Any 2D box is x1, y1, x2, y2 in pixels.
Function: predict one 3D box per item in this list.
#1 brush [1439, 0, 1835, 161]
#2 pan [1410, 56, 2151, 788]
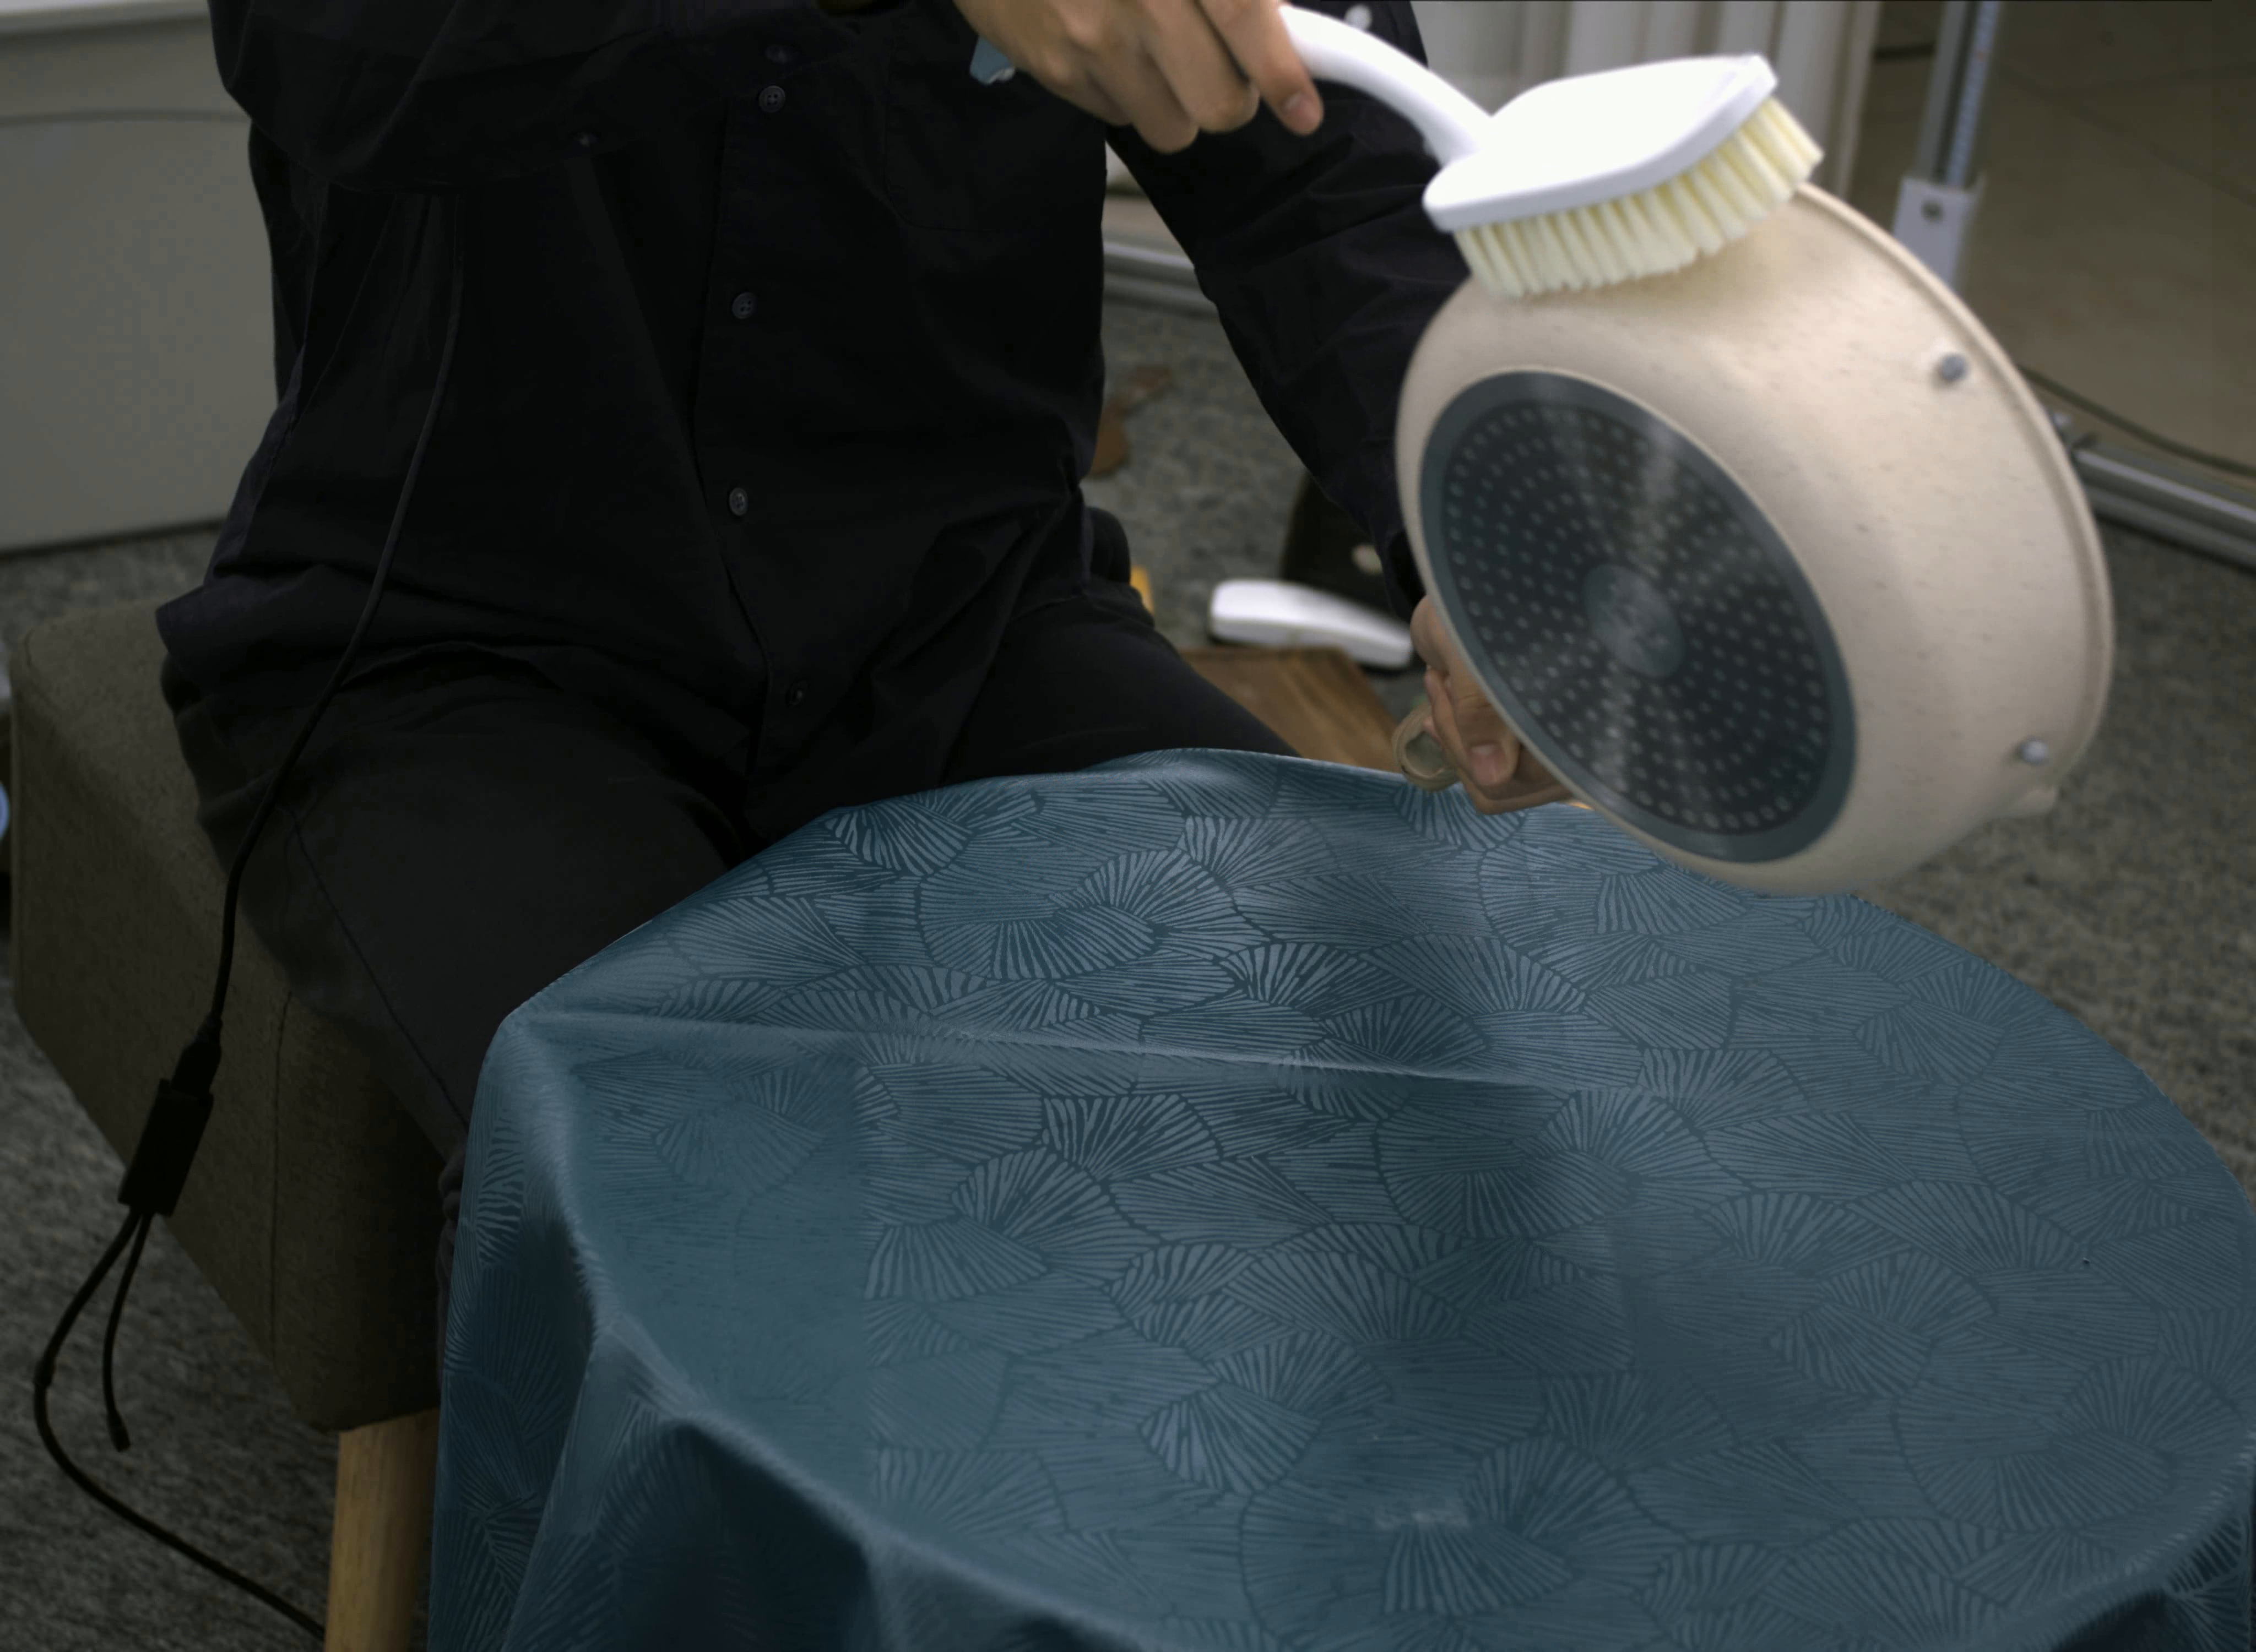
[{"bbox_3d":[0.091,-0.256,1.693,0.327,0.084,0.082,11,9,43],"label":"brush"},{"bbox_3d":[0.171,-0.098,1.792,0.102,0.435,0.263,-39,90,-28],"label":"pan"}]
